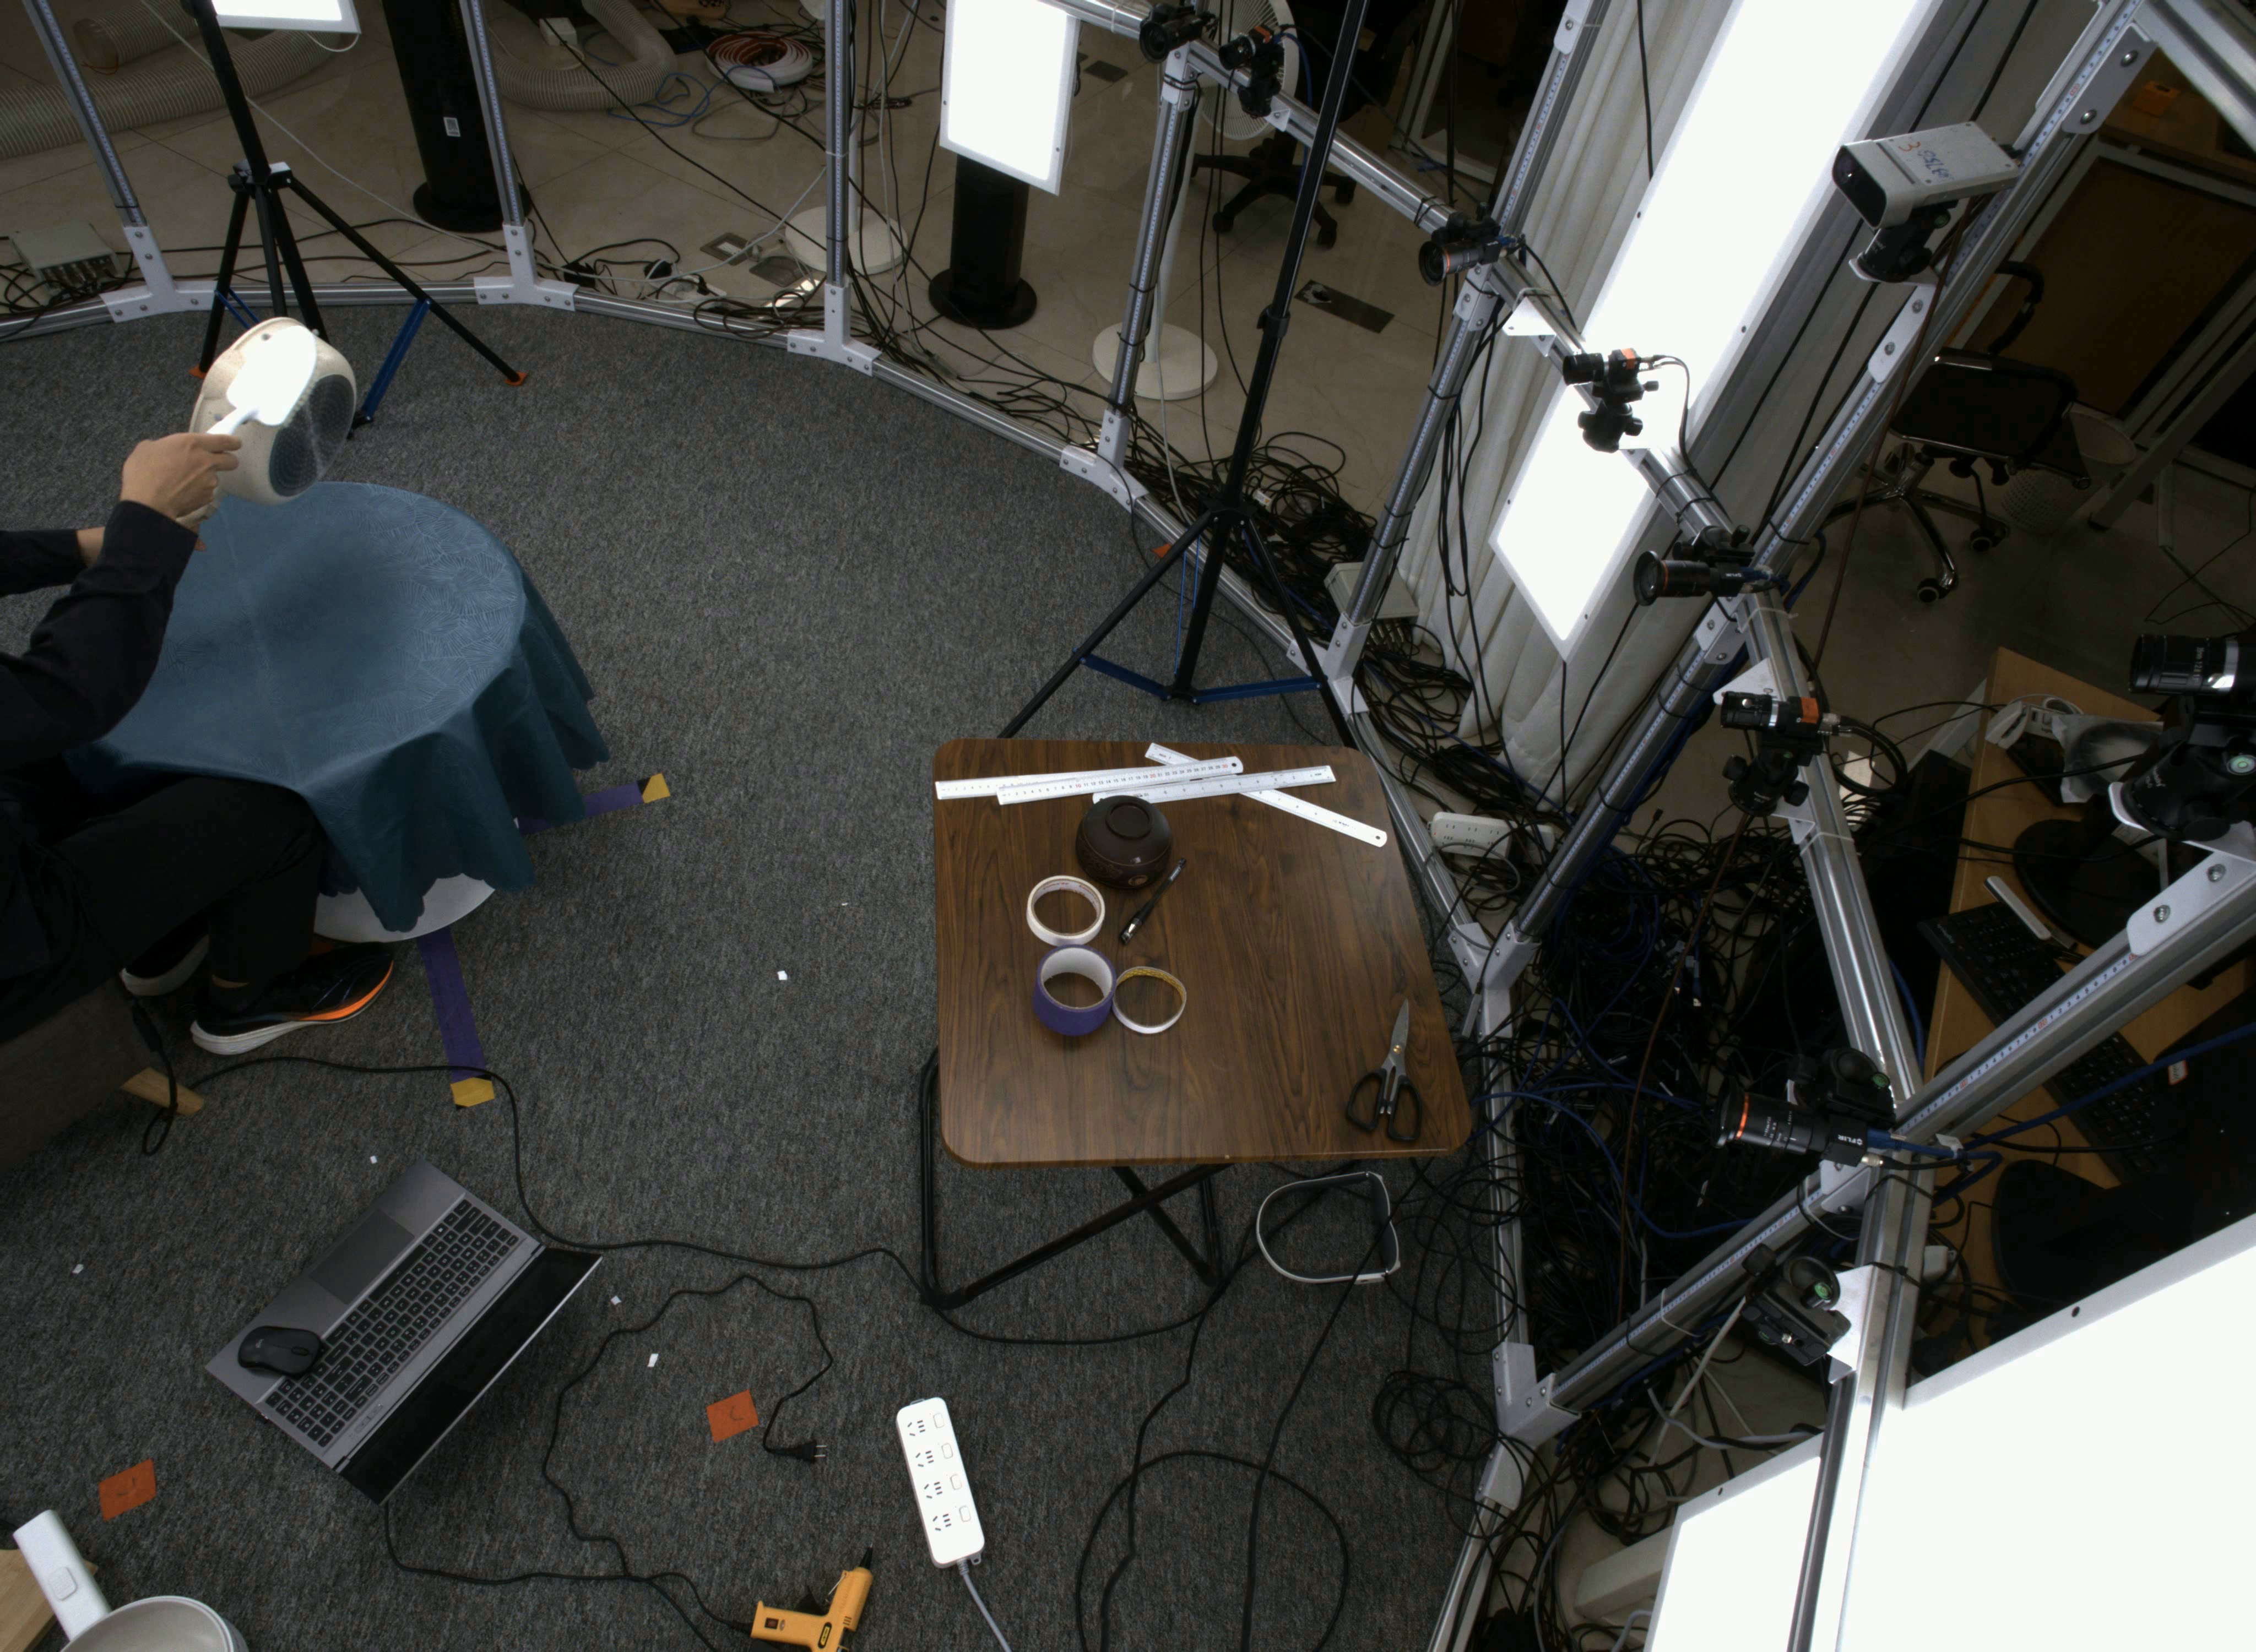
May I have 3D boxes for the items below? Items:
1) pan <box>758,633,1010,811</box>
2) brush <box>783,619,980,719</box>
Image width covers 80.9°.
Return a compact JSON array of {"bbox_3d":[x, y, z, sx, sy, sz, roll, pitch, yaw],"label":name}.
[{"bbox_3d":[-0.370,-0.129,2.031,0.435,0.271,0.099,-37,61,-17],"label":"pan"},{"bbox_3d":[-0.355,-0.211,1.883,0.326,0.087,0.080,-31,29,-28],"label":"brush"}]
